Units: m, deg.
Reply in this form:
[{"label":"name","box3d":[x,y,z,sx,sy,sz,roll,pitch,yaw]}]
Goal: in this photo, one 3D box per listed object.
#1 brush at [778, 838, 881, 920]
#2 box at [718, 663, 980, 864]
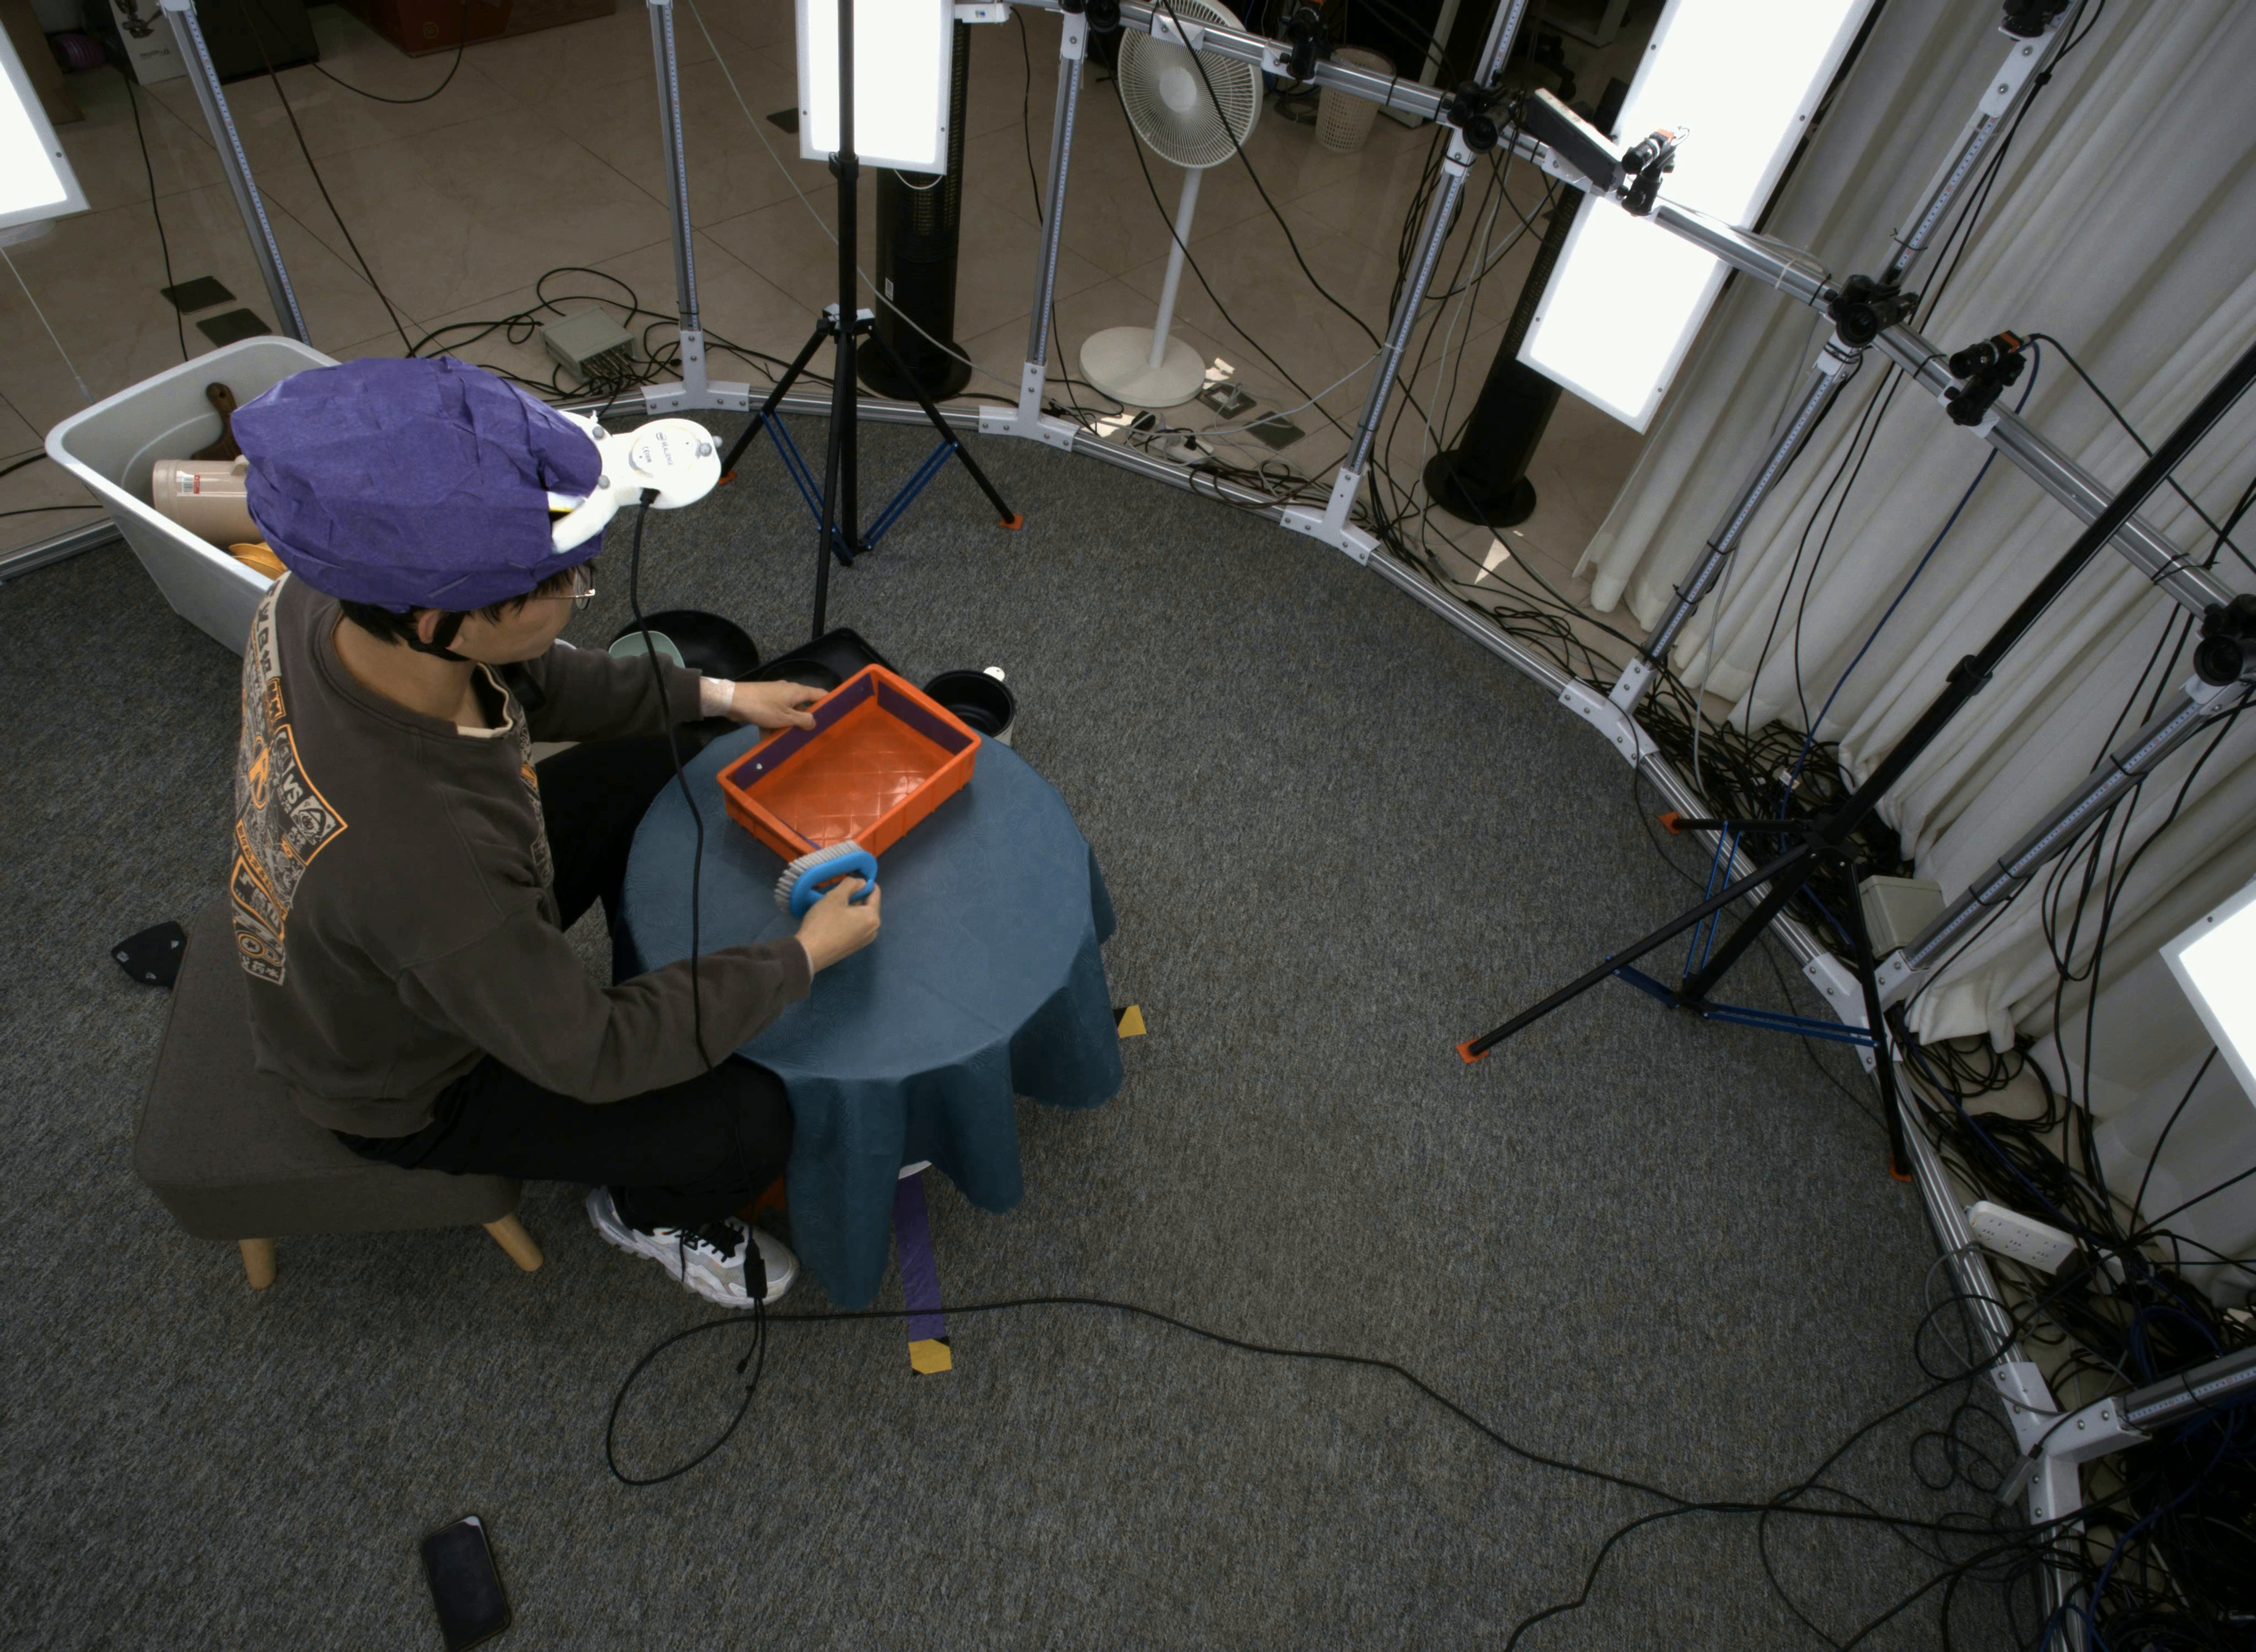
[{"label":"brush","box3d":[-0.353,0.070,1.582,0.062,0.086,0.143,31,29,27]},{"label":"box","box3d":[-0.369,-0.061,1.741,0.202,0.098,0.303,36,54,14]}]
